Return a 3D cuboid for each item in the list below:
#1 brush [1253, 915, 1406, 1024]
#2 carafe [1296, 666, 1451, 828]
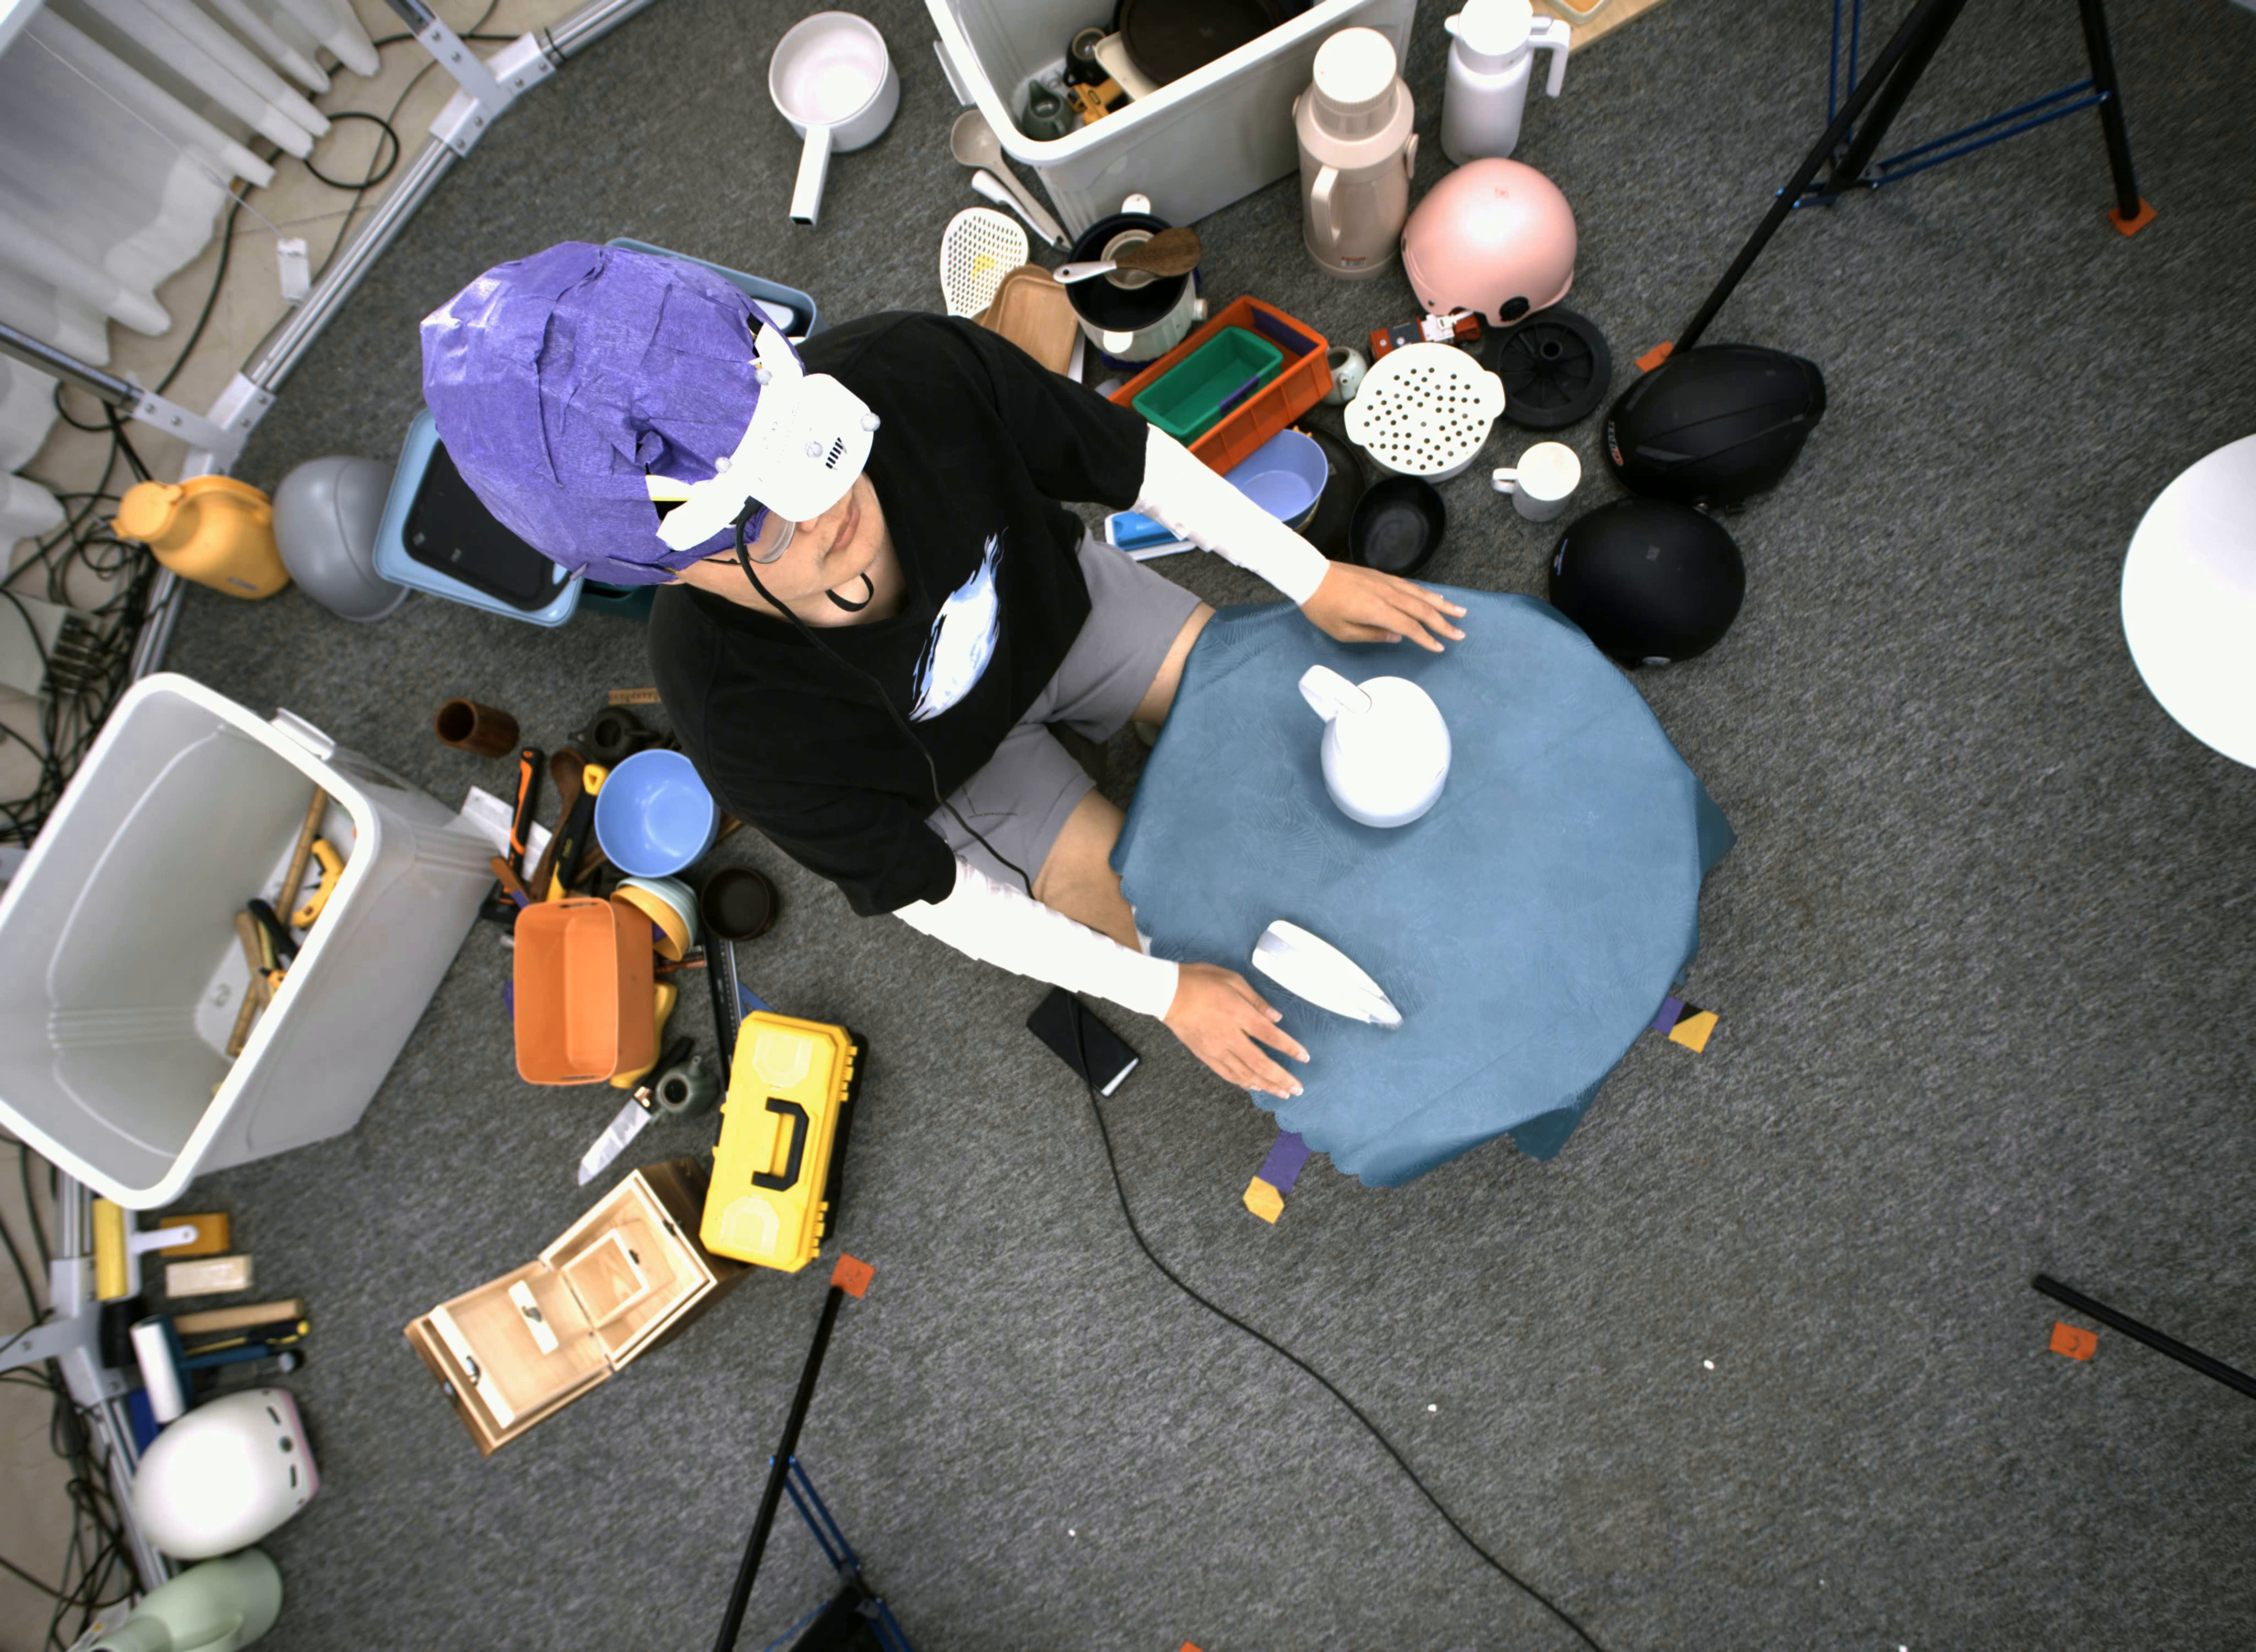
[{"bbox_3d":[0.208,0.155,1.419,0.175,0.094,0.061,31,93,10],"label":"brush"},{"bbox_3d":[0.236,-0.089,1.348,0.167,0.249,0.133,40,93,12],"label":"carafe"}]
